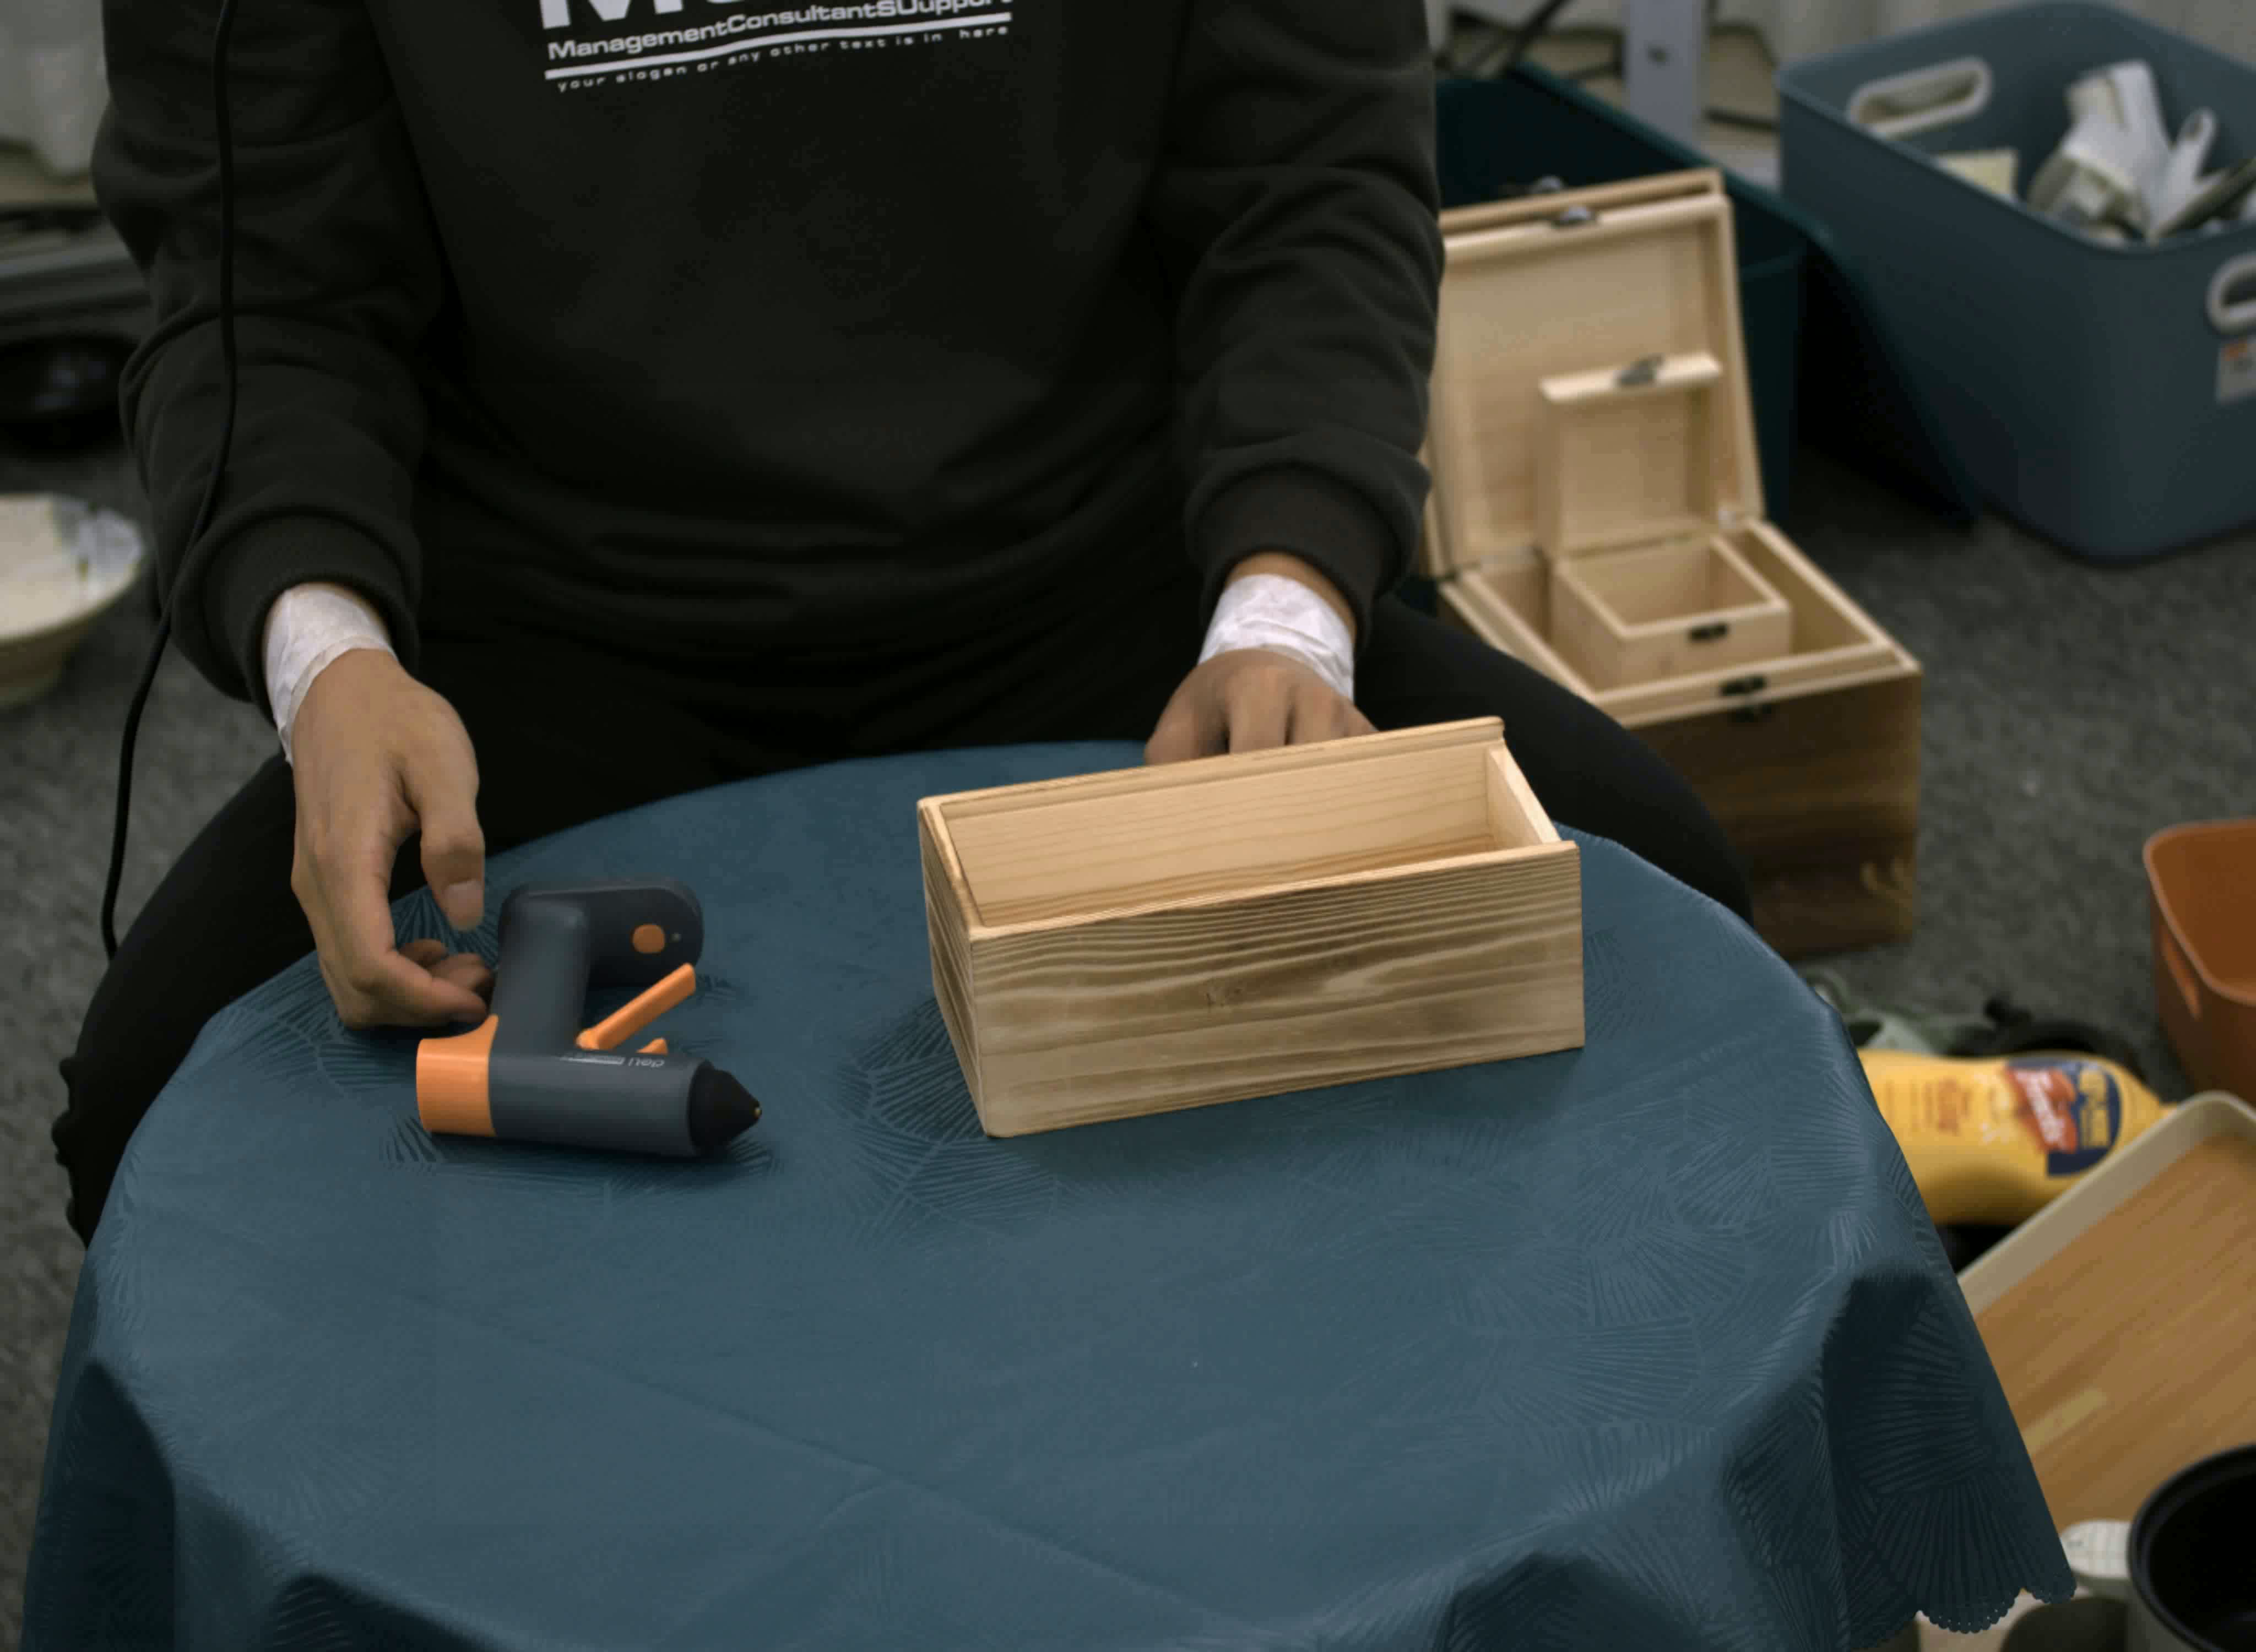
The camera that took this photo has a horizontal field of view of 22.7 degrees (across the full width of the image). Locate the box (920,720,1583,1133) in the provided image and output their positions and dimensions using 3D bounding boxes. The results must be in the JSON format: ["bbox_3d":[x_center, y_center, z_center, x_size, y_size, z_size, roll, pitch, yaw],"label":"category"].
[{"bbox_3d":[0.042,0.033,1.947,0.211,0.079,0.109,-8,27,-10],"label":"box"}]

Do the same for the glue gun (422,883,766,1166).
[{"bbox_3d":[-0.182,0.073,1.945,0.117,0.040,0.142,-1,29,-1],"label":"glue gun"}]
